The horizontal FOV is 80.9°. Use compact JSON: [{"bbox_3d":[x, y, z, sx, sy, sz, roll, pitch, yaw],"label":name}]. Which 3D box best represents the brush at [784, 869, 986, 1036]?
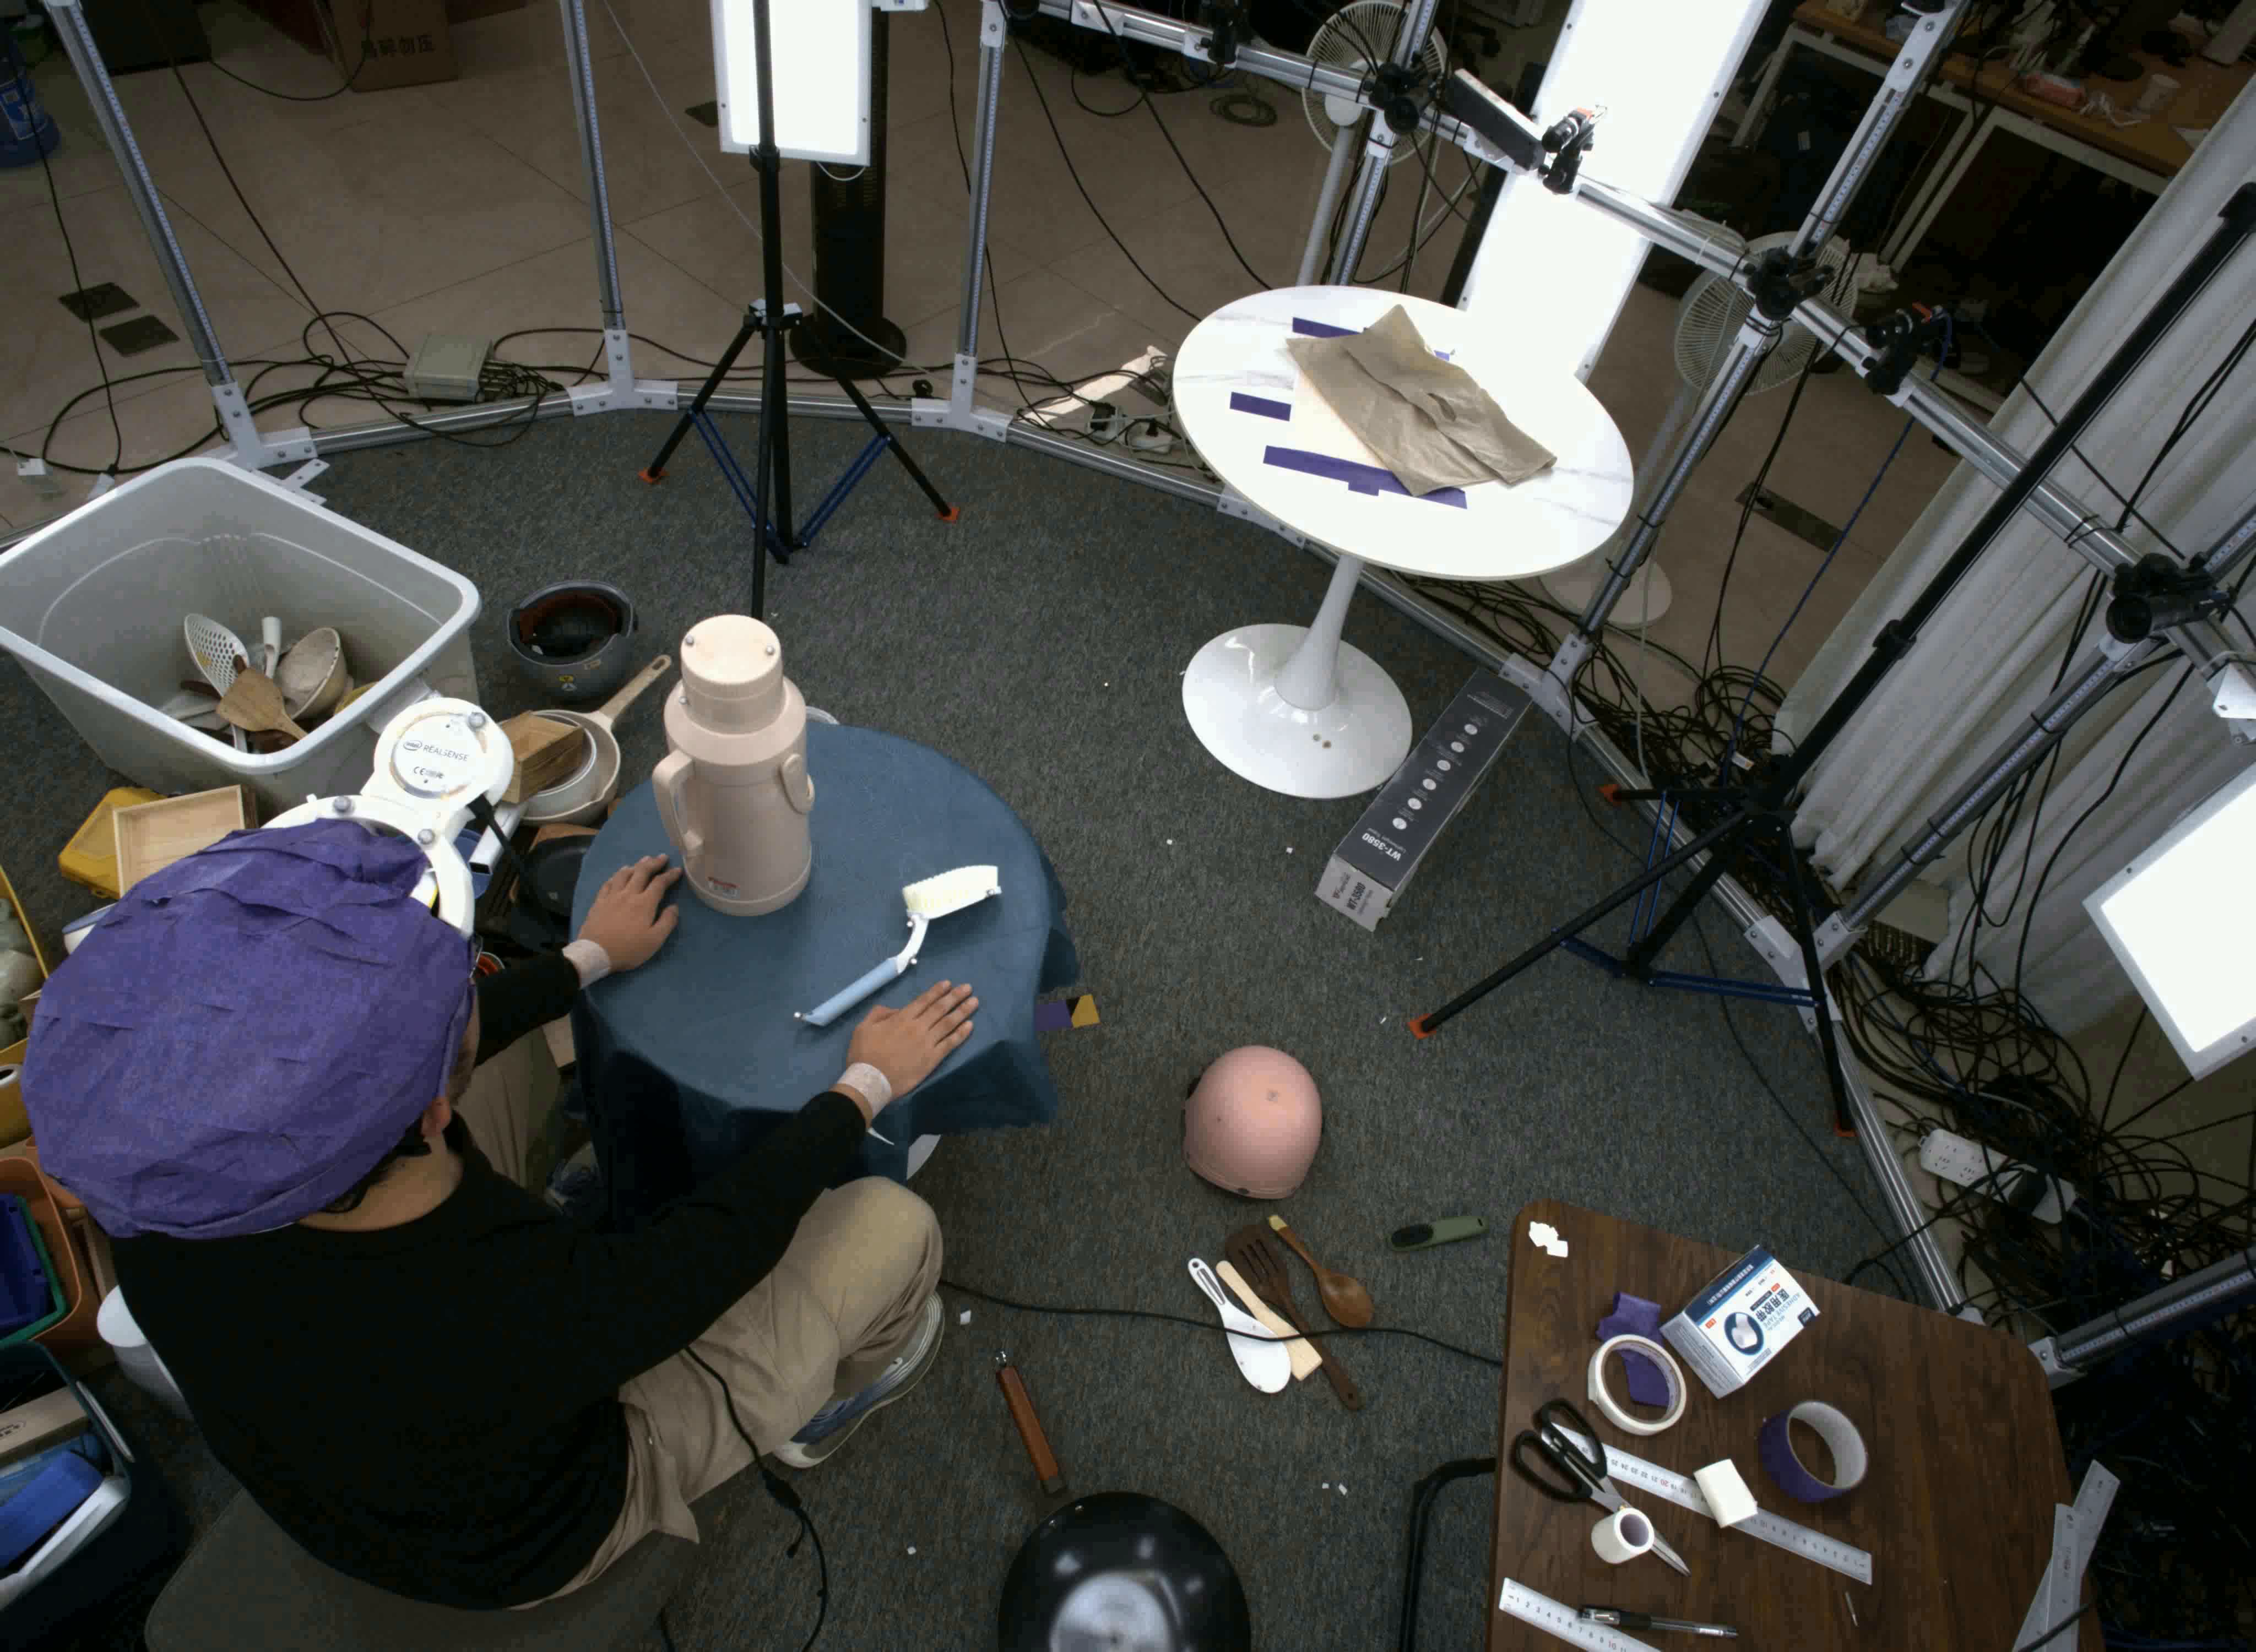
[{"bbox_3d":[-0.304,0.131,1.600,0.083,0.084,0.326,44,54,13],"label":"brush"}]

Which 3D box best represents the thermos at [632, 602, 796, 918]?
[{"bbox_3d":[-0.484,-0.064,1.494,0.172,0.414,0.206,32,52,12],"label":"thermos"}]
